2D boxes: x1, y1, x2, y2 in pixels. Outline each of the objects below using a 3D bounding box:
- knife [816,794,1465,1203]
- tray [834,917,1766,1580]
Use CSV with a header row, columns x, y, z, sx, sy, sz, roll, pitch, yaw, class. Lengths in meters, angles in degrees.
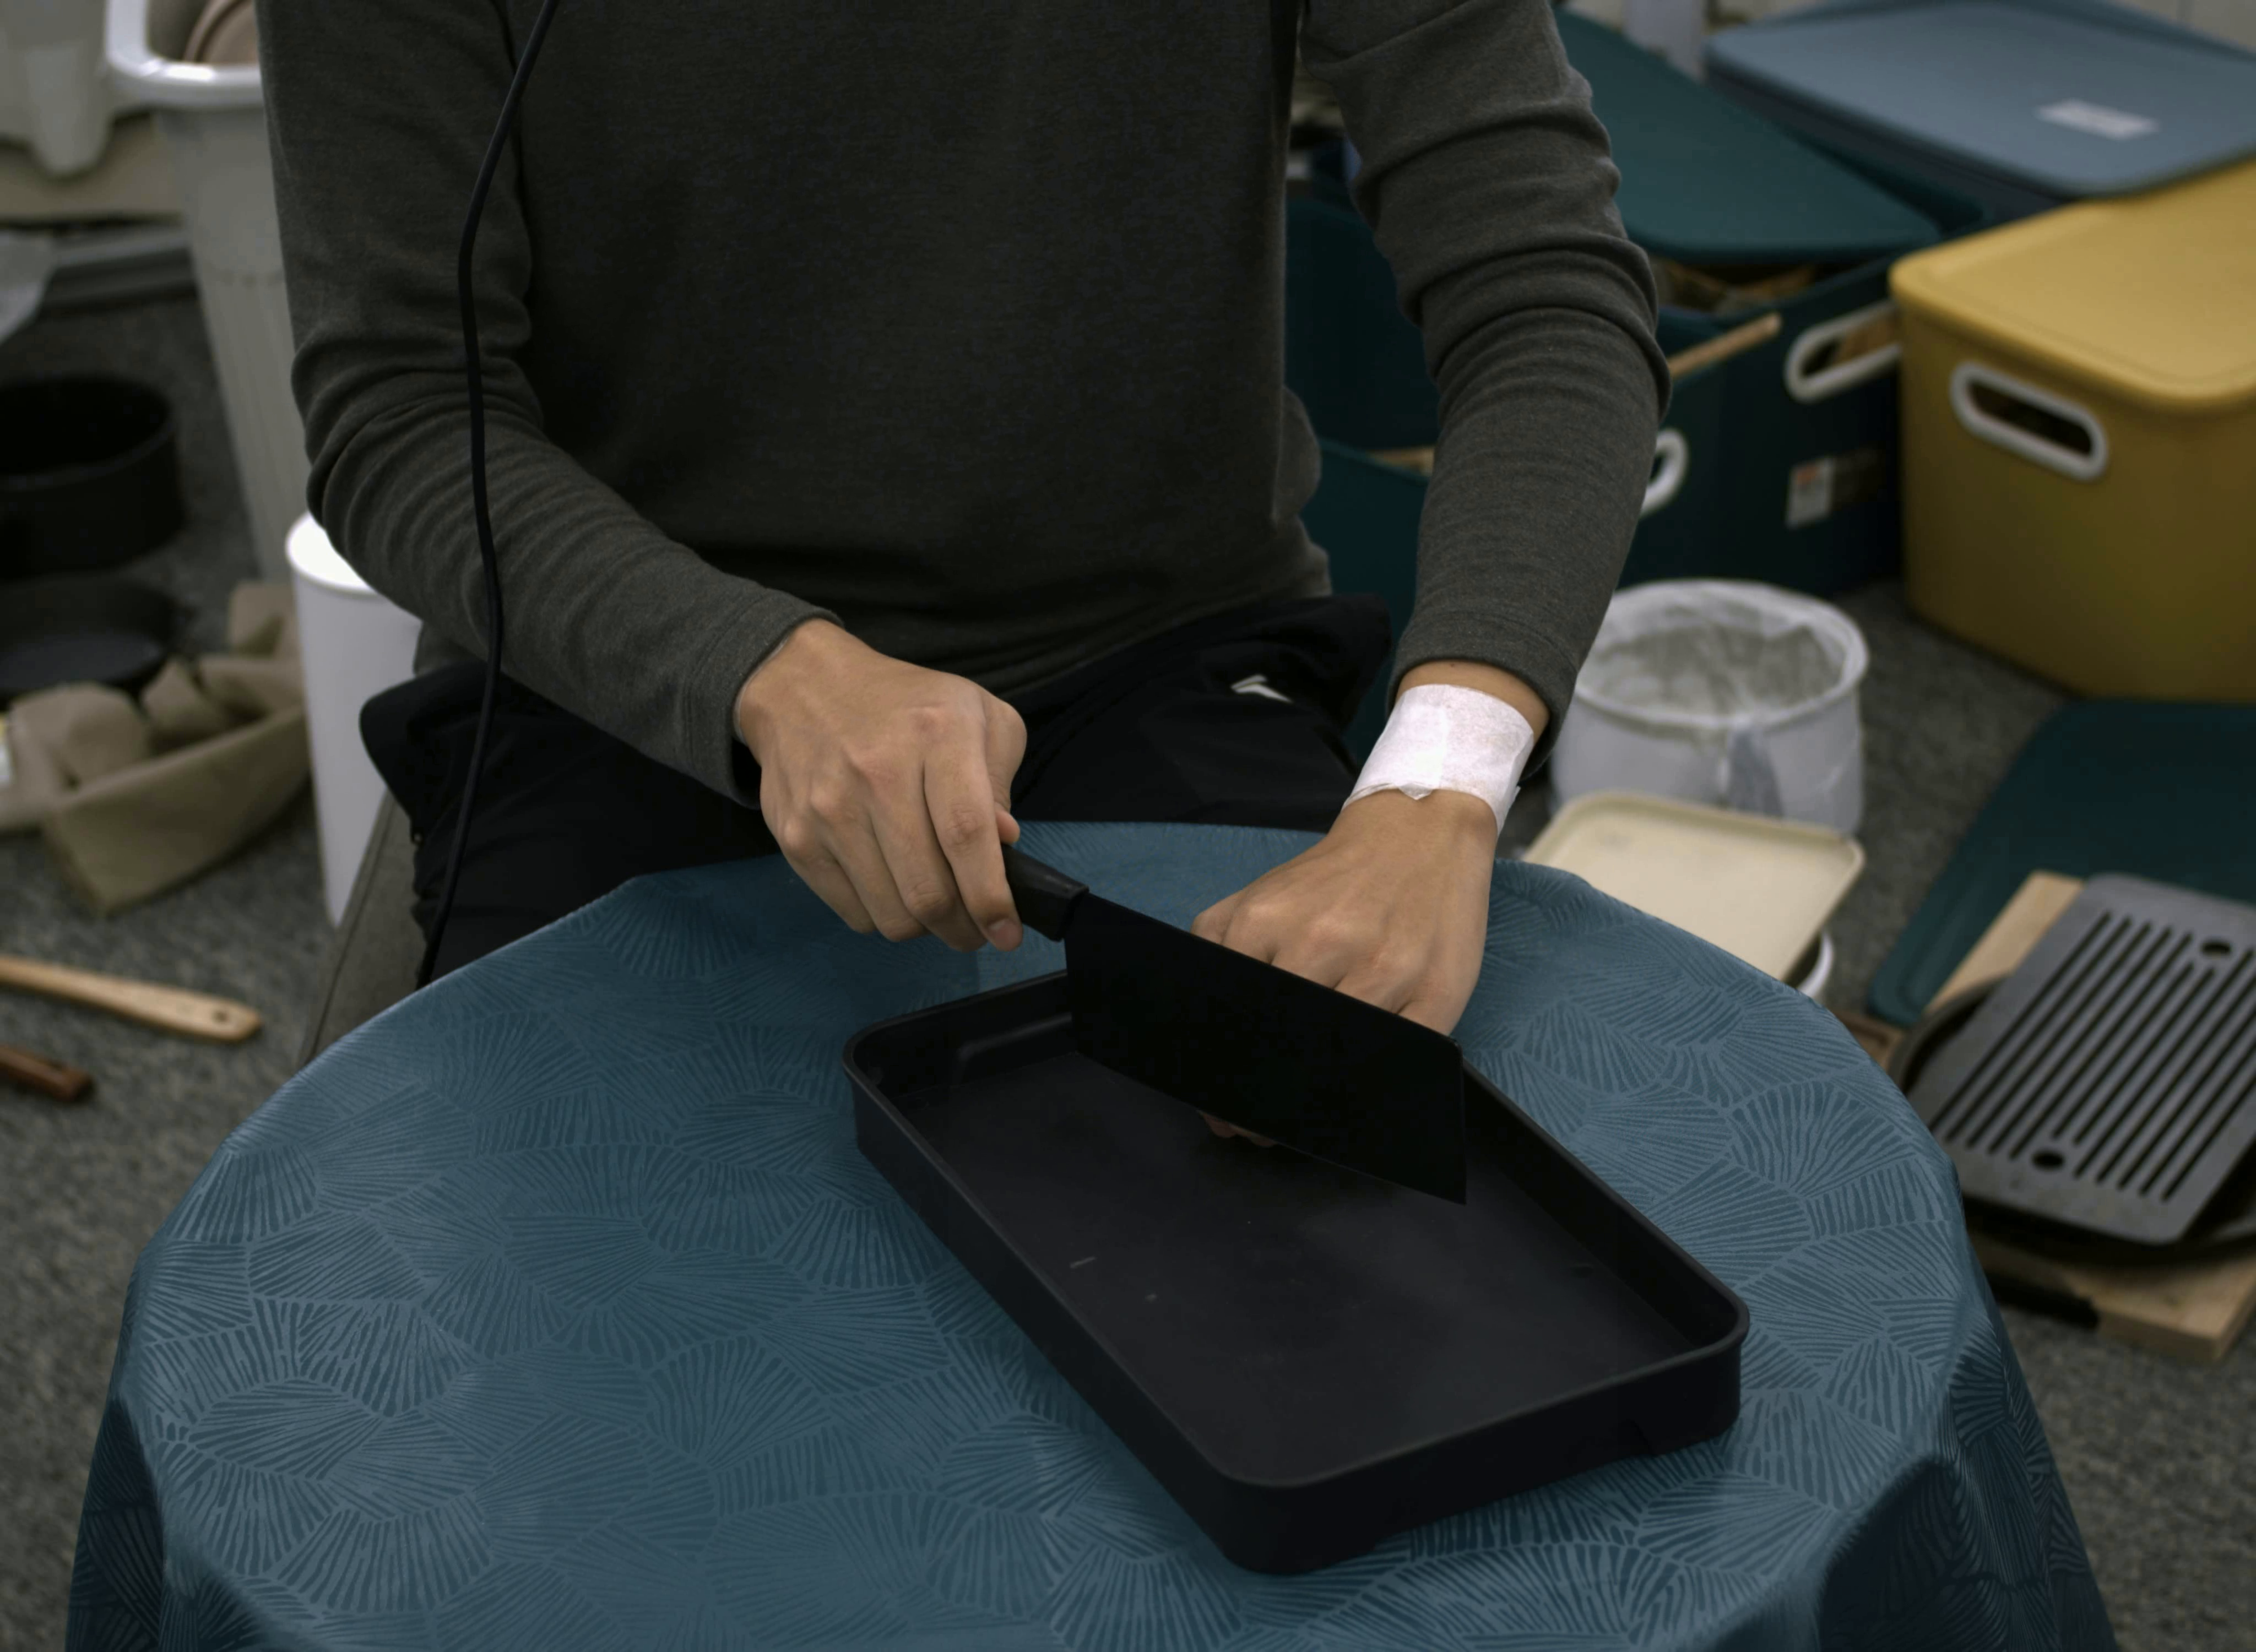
x,y,z,sx,sy,sz,roll,pitch,yaw,class
0.001,0.052,1.866,0.021,0.080,0.302,-23,36,-39,knife
0.049,0.128,1.804,0.185,0.036,0.319,-16,30,-24,tray
